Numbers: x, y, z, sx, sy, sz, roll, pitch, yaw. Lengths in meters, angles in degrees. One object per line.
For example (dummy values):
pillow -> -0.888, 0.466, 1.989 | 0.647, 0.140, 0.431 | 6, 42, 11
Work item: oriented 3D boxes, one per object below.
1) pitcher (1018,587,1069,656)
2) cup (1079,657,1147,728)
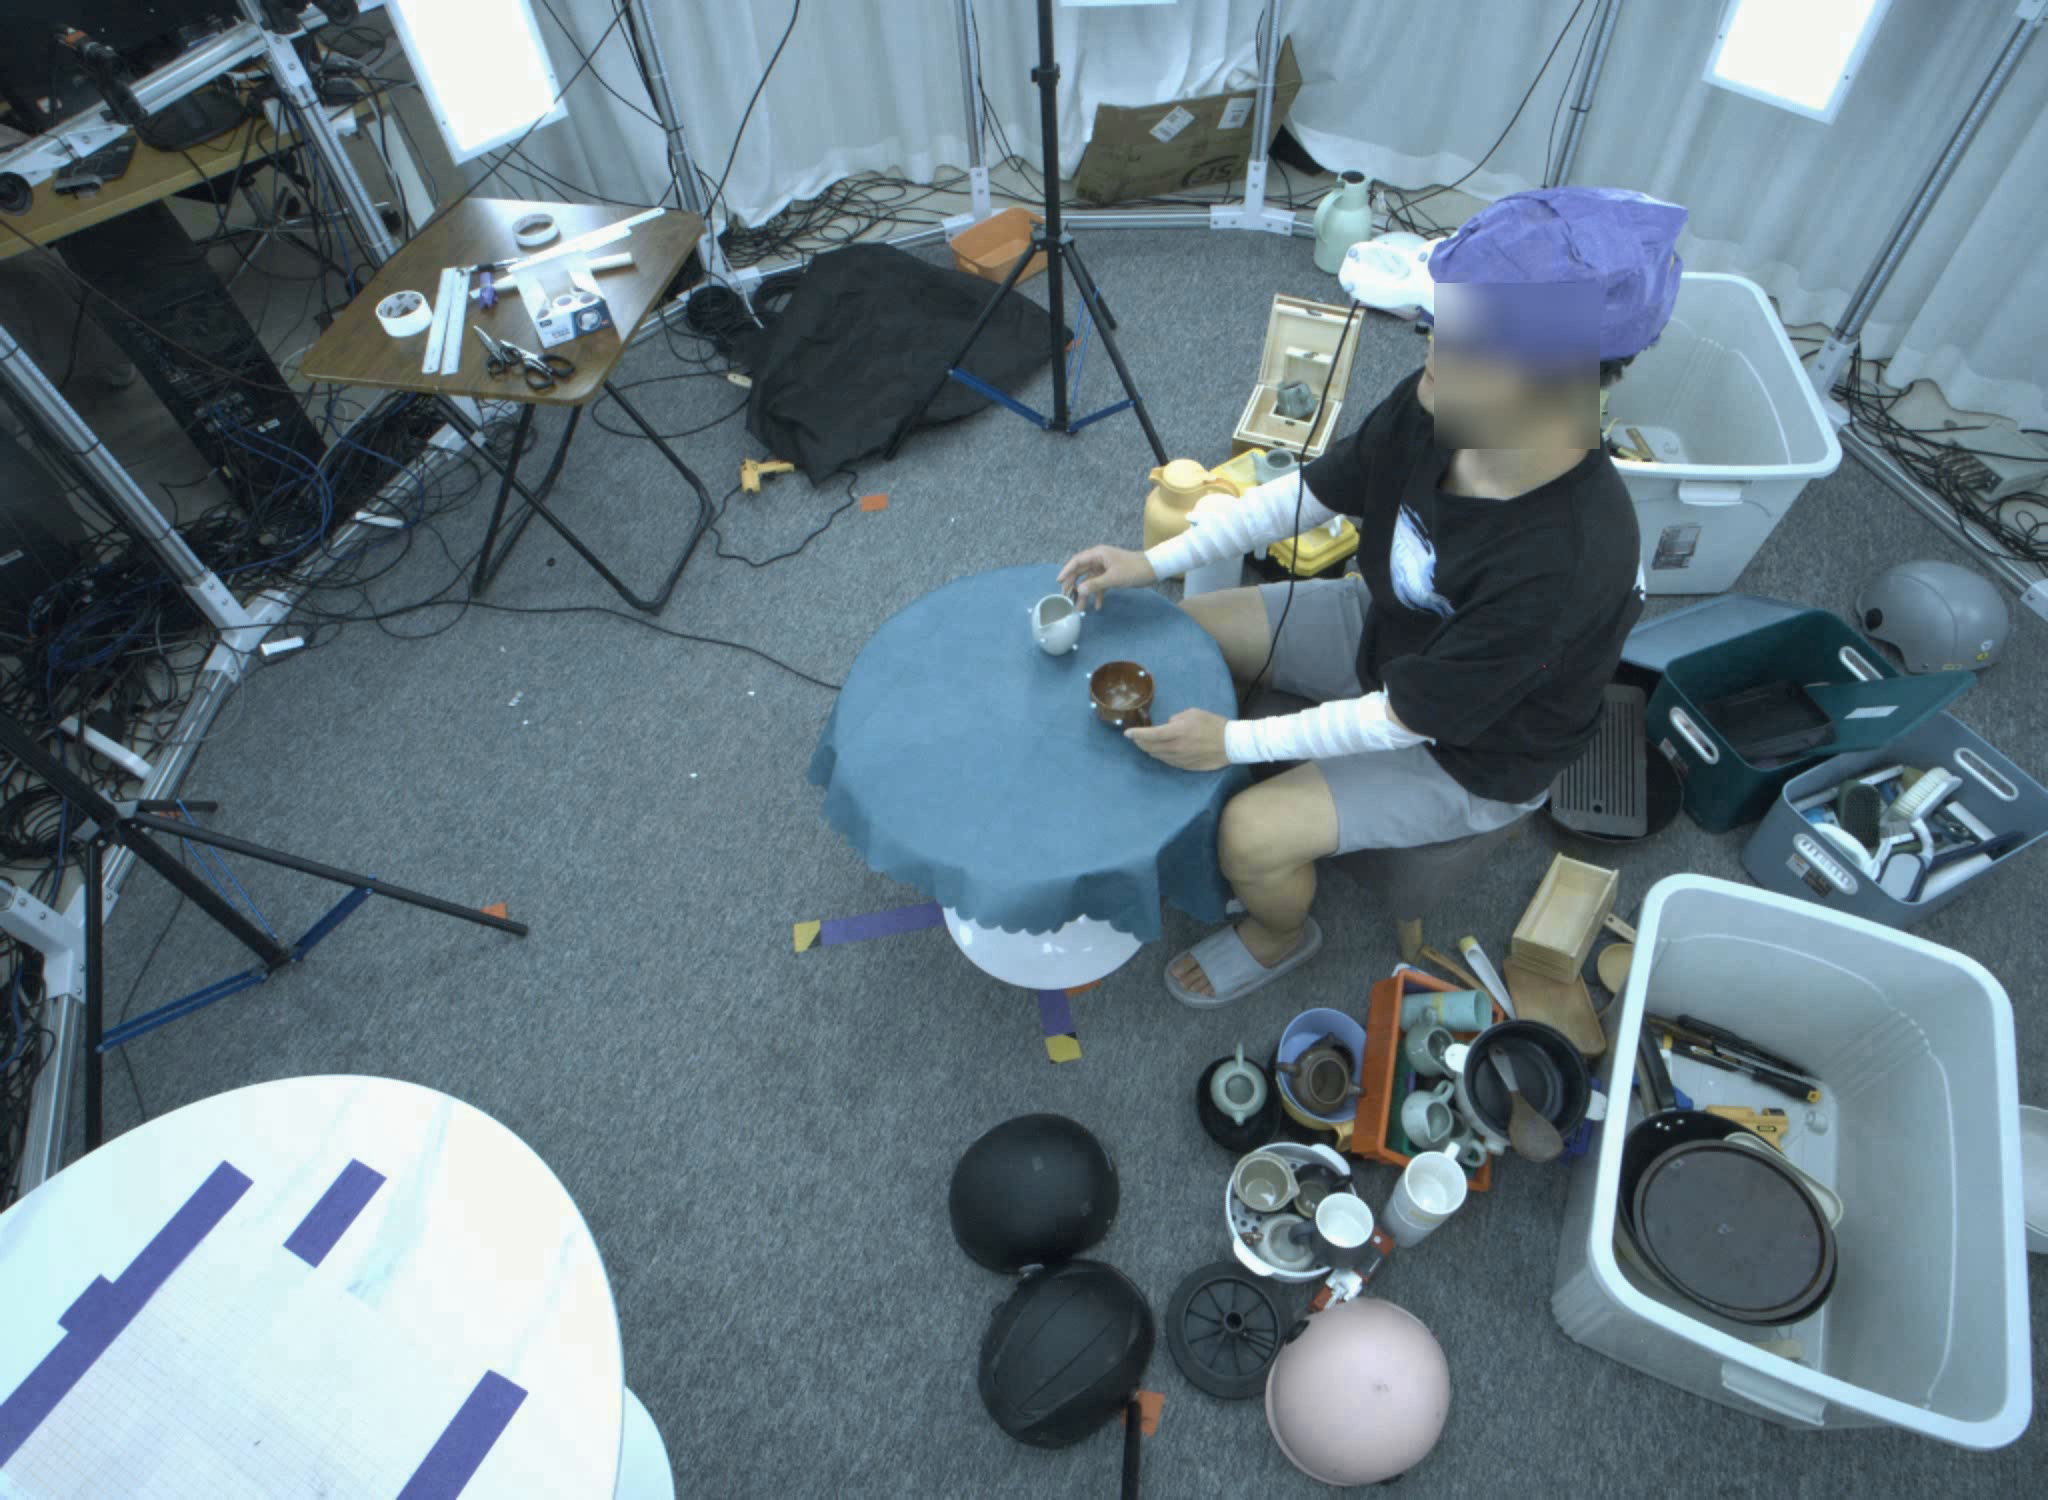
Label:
pitcher -> 0.034, -0.191, 1.859 | 0.075, 0.088, 0.119 | 30, 65, 16
cup -> 0.134, -0.070, 1.784 | 0.097, 0.068, 0.117 | -27, 59, -20
